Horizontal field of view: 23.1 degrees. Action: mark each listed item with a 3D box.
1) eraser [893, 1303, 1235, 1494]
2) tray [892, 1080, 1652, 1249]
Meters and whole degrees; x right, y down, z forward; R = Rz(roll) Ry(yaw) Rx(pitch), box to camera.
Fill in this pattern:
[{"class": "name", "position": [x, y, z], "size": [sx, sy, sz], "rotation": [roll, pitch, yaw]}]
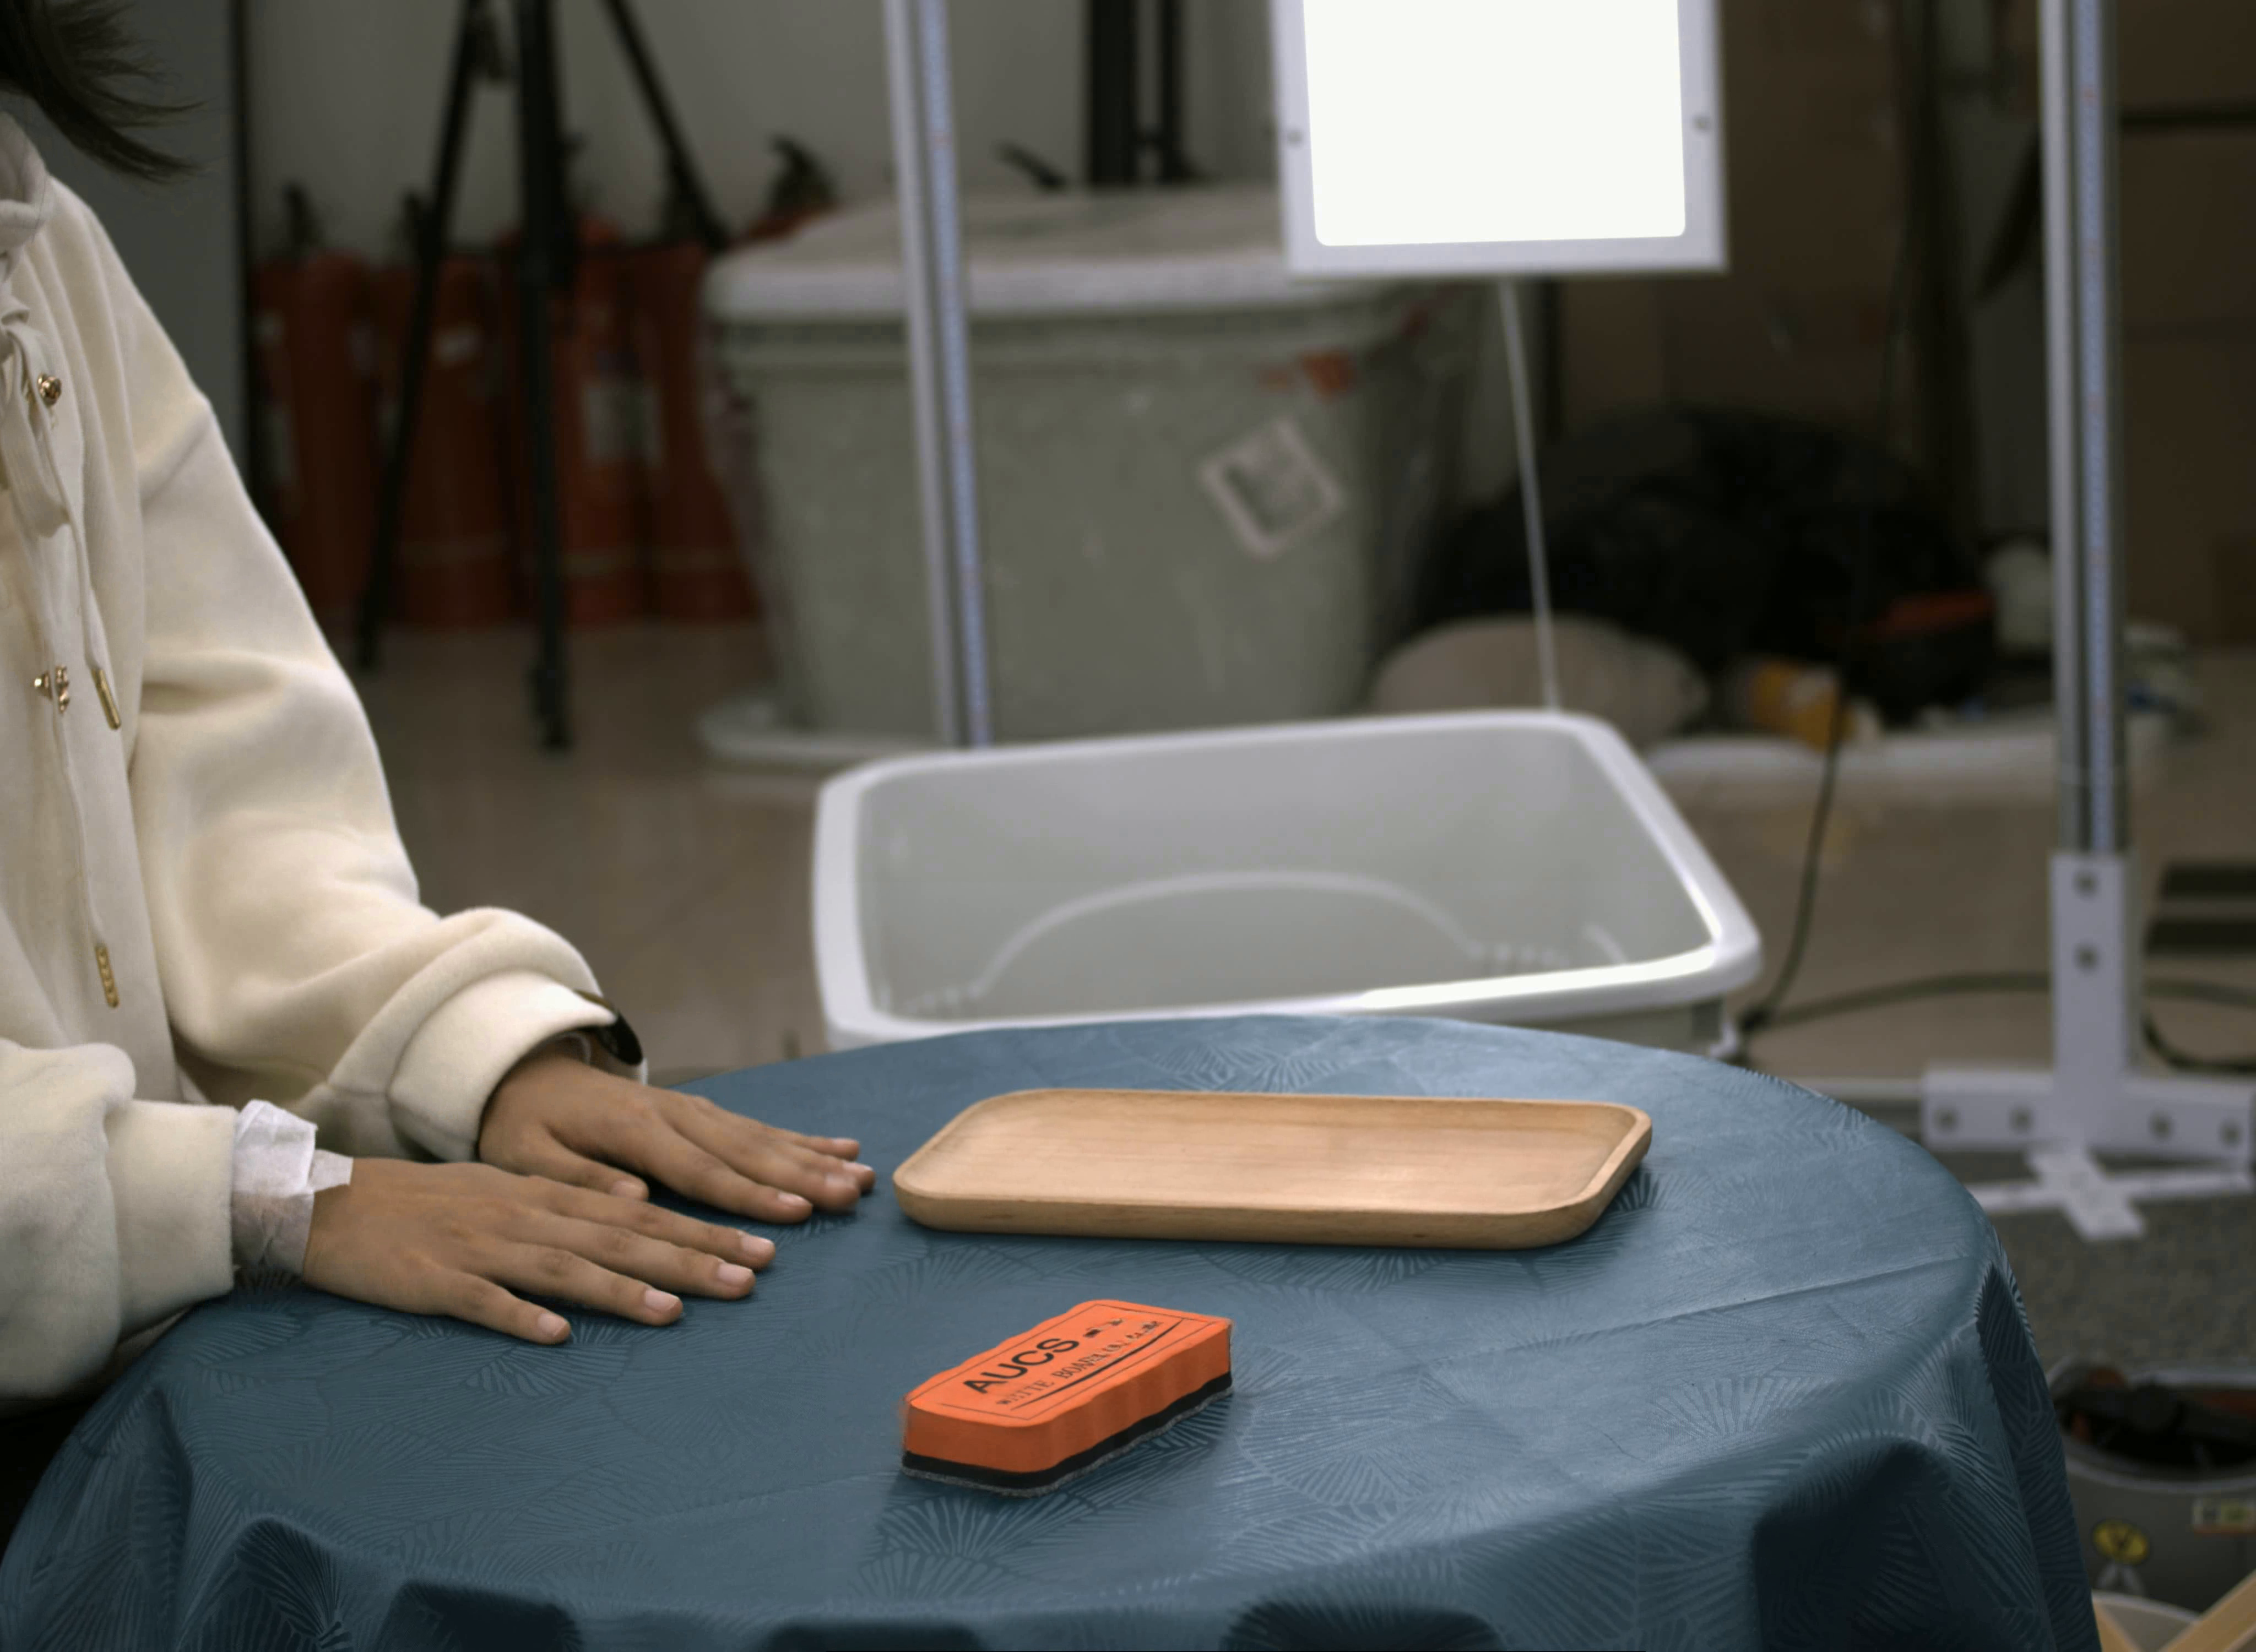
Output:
[{"class": "eraser", "position": [-0.018, 0.172, 1.668], "size": [0.060, 0.023, 0.105], "rotation": [7, 18, 38]}, {"class": "tray", "position": [0.050, 0.115, 1.887], "size": [0.254, 0.023, 0.128], "rotation": [0, 12, 23]}]
